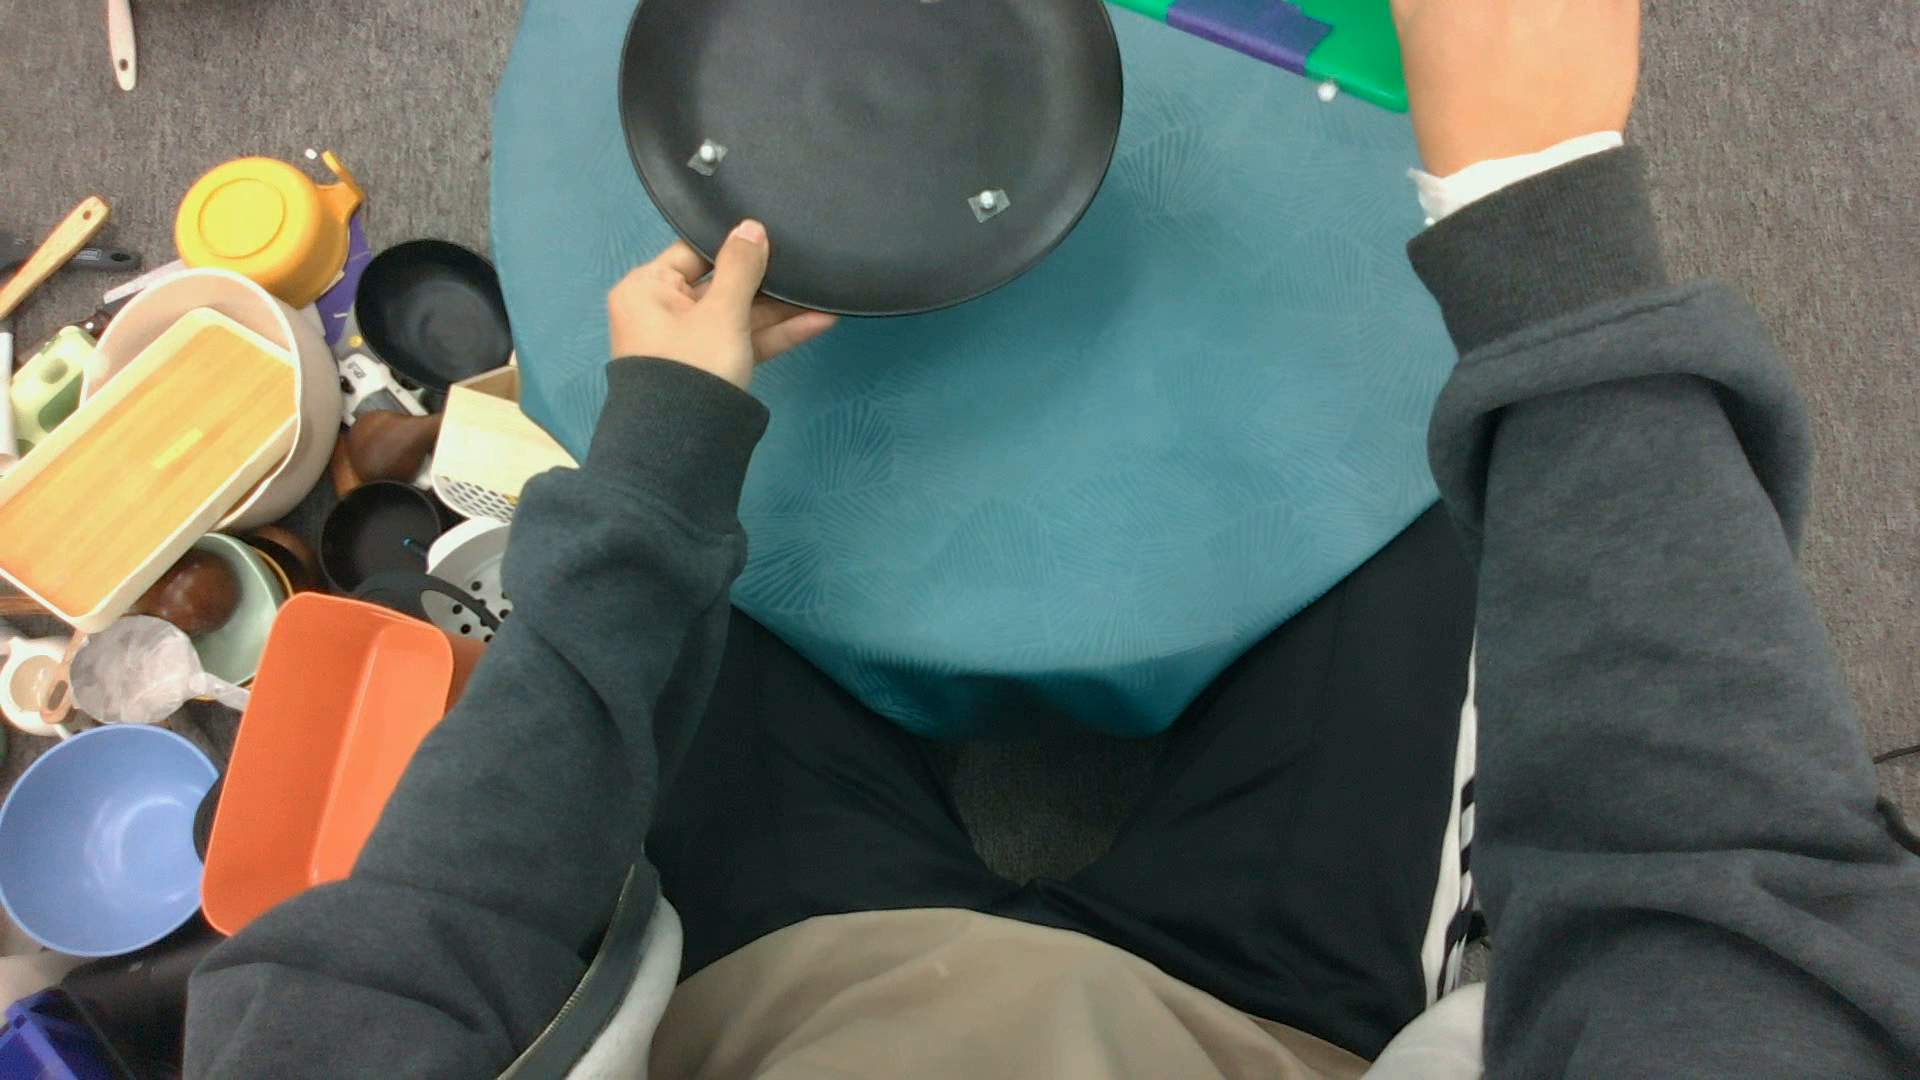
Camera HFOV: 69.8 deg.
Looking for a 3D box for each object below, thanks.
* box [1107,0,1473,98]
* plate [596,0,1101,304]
[{"bbox_3d":[0.115,-0.277,0.547,0.210,0.138,0.065,32,63,30],"label":"box"},{"bbox_3d":[-0.053,-0.224,0.675,0.244,0.023,0.245,1,75,-3],"label":"plate"}]
